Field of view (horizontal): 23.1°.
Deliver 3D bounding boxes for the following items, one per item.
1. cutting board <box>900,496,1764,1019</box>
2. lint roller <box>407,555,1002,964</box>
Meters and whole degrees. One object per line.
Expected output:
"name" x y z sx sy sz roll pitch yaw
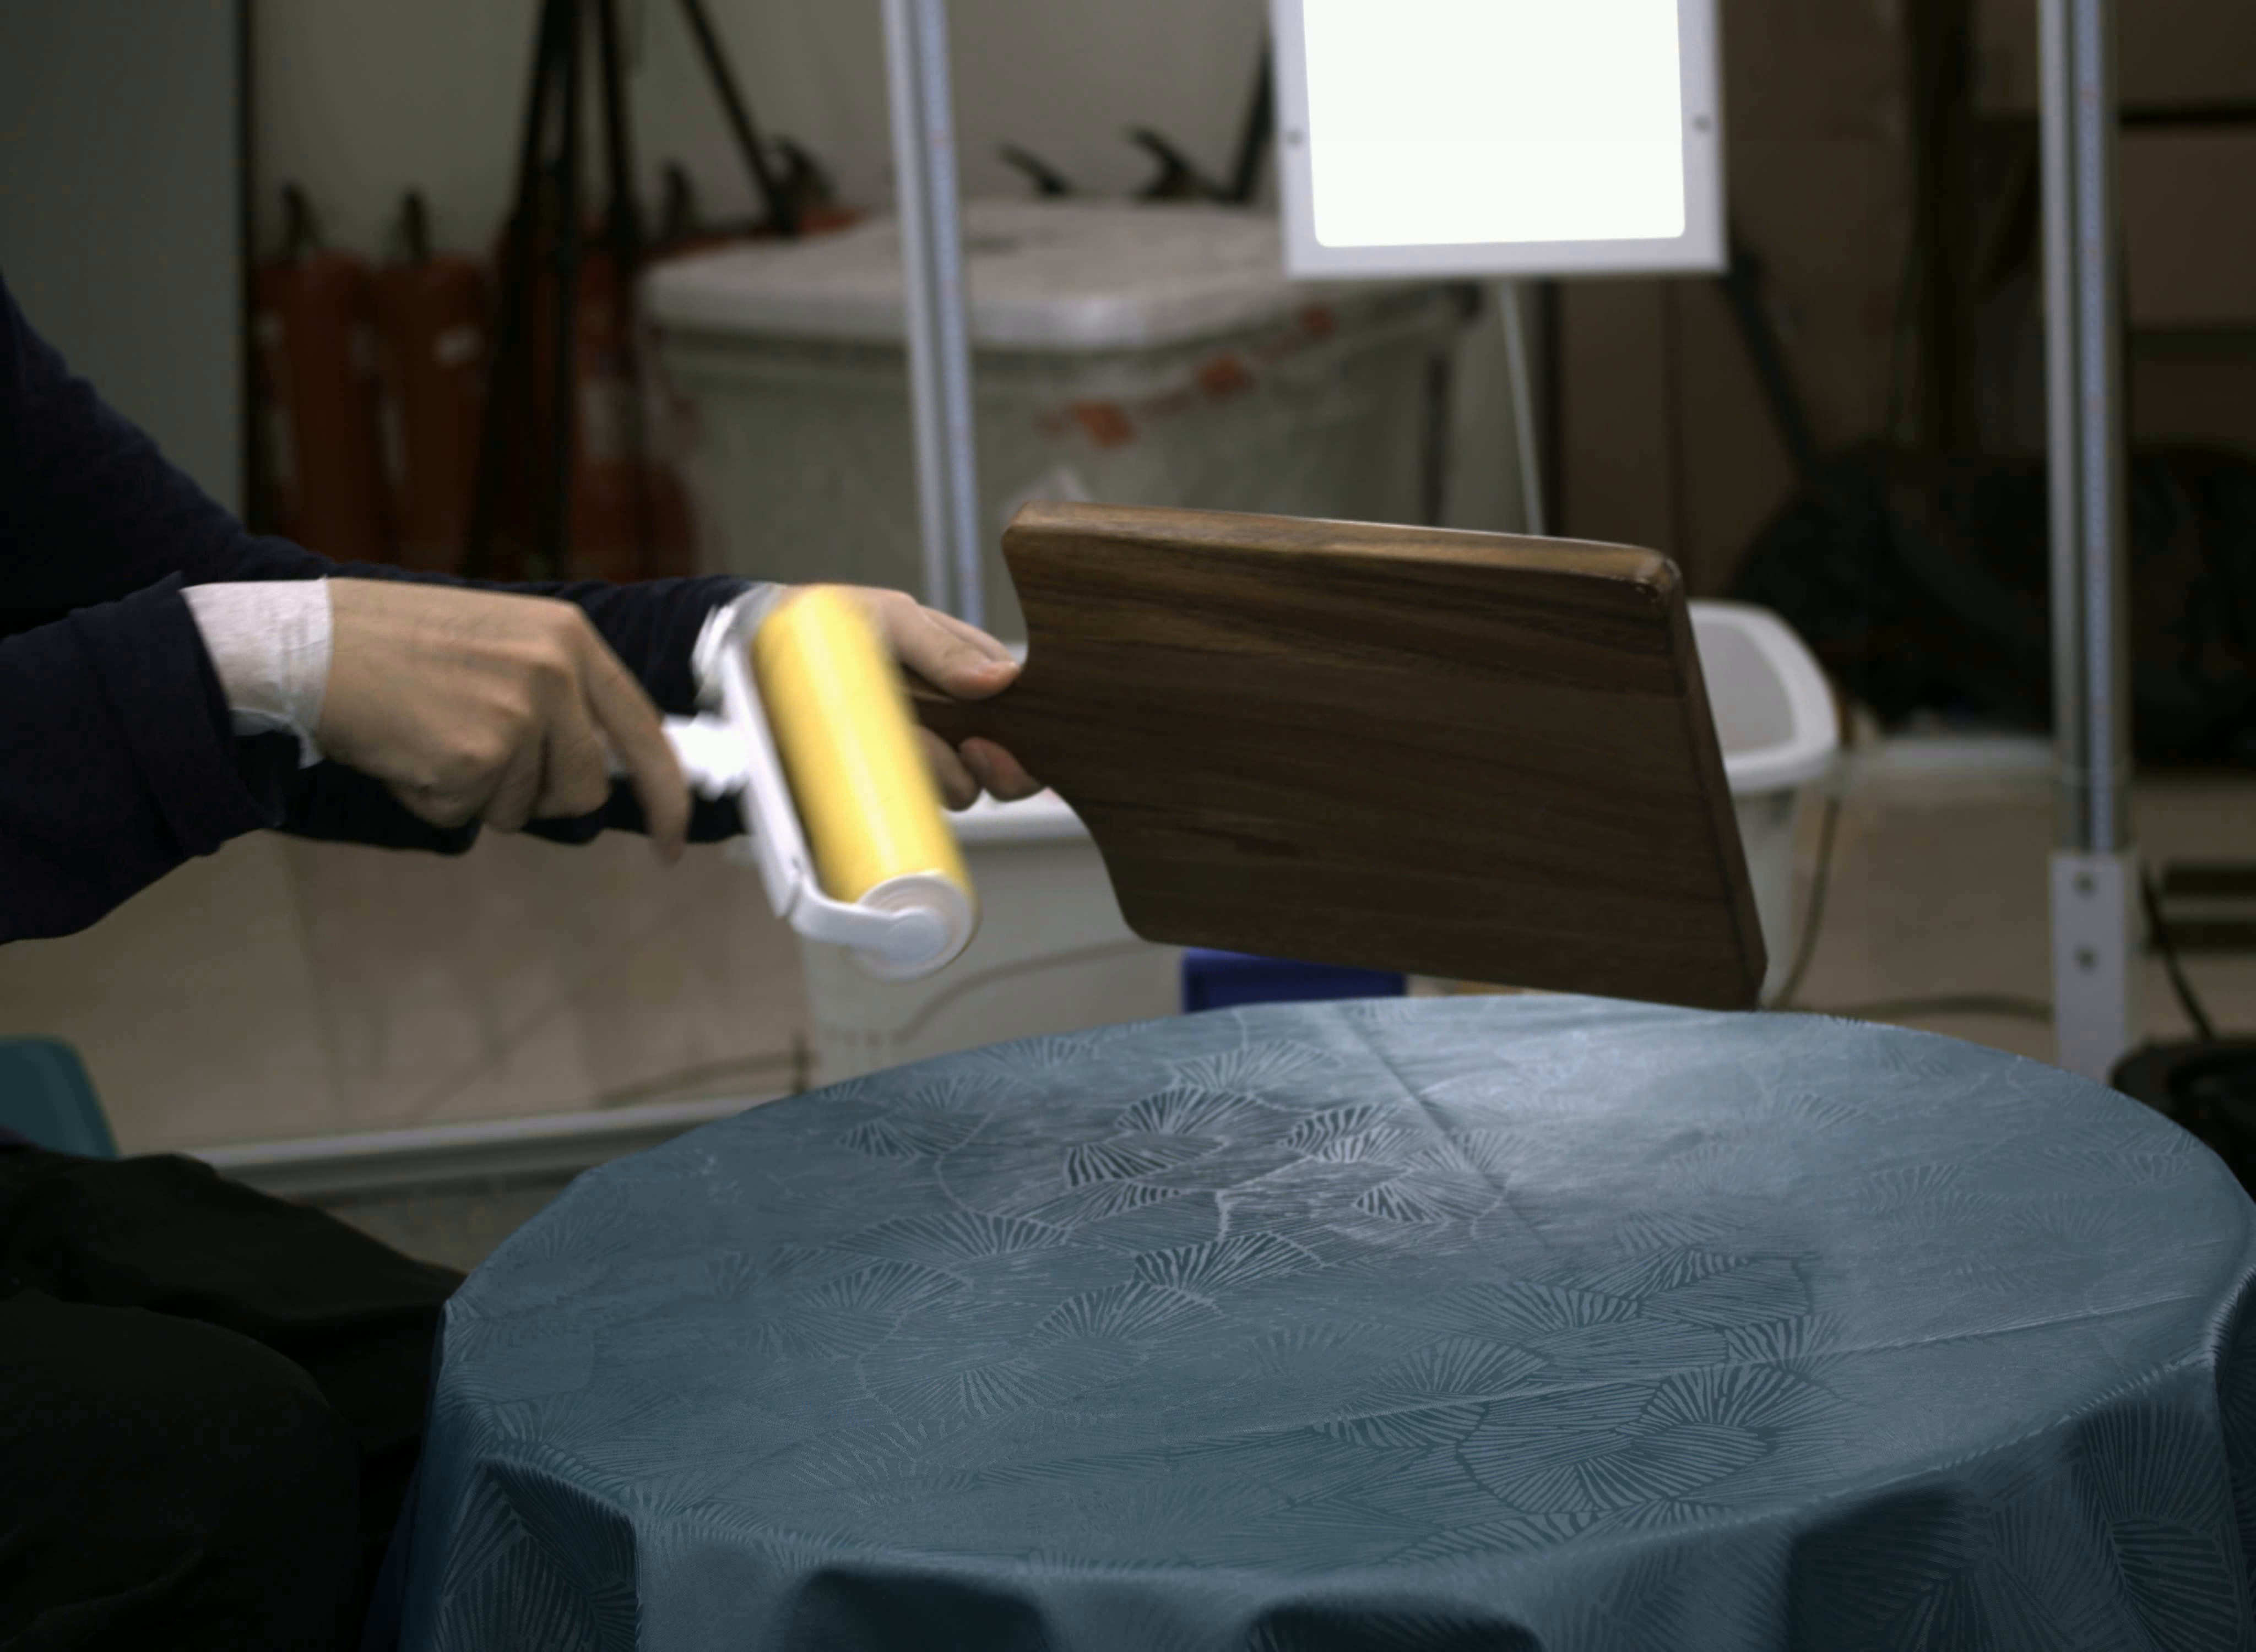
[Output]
"cutting board" 0.045 -0.028 1.930 0.358 0.200 0.023 6 44 30
"lint roller" -0.146 -0.036 1.854 0.188 0.052 0.175 12 37 -29
